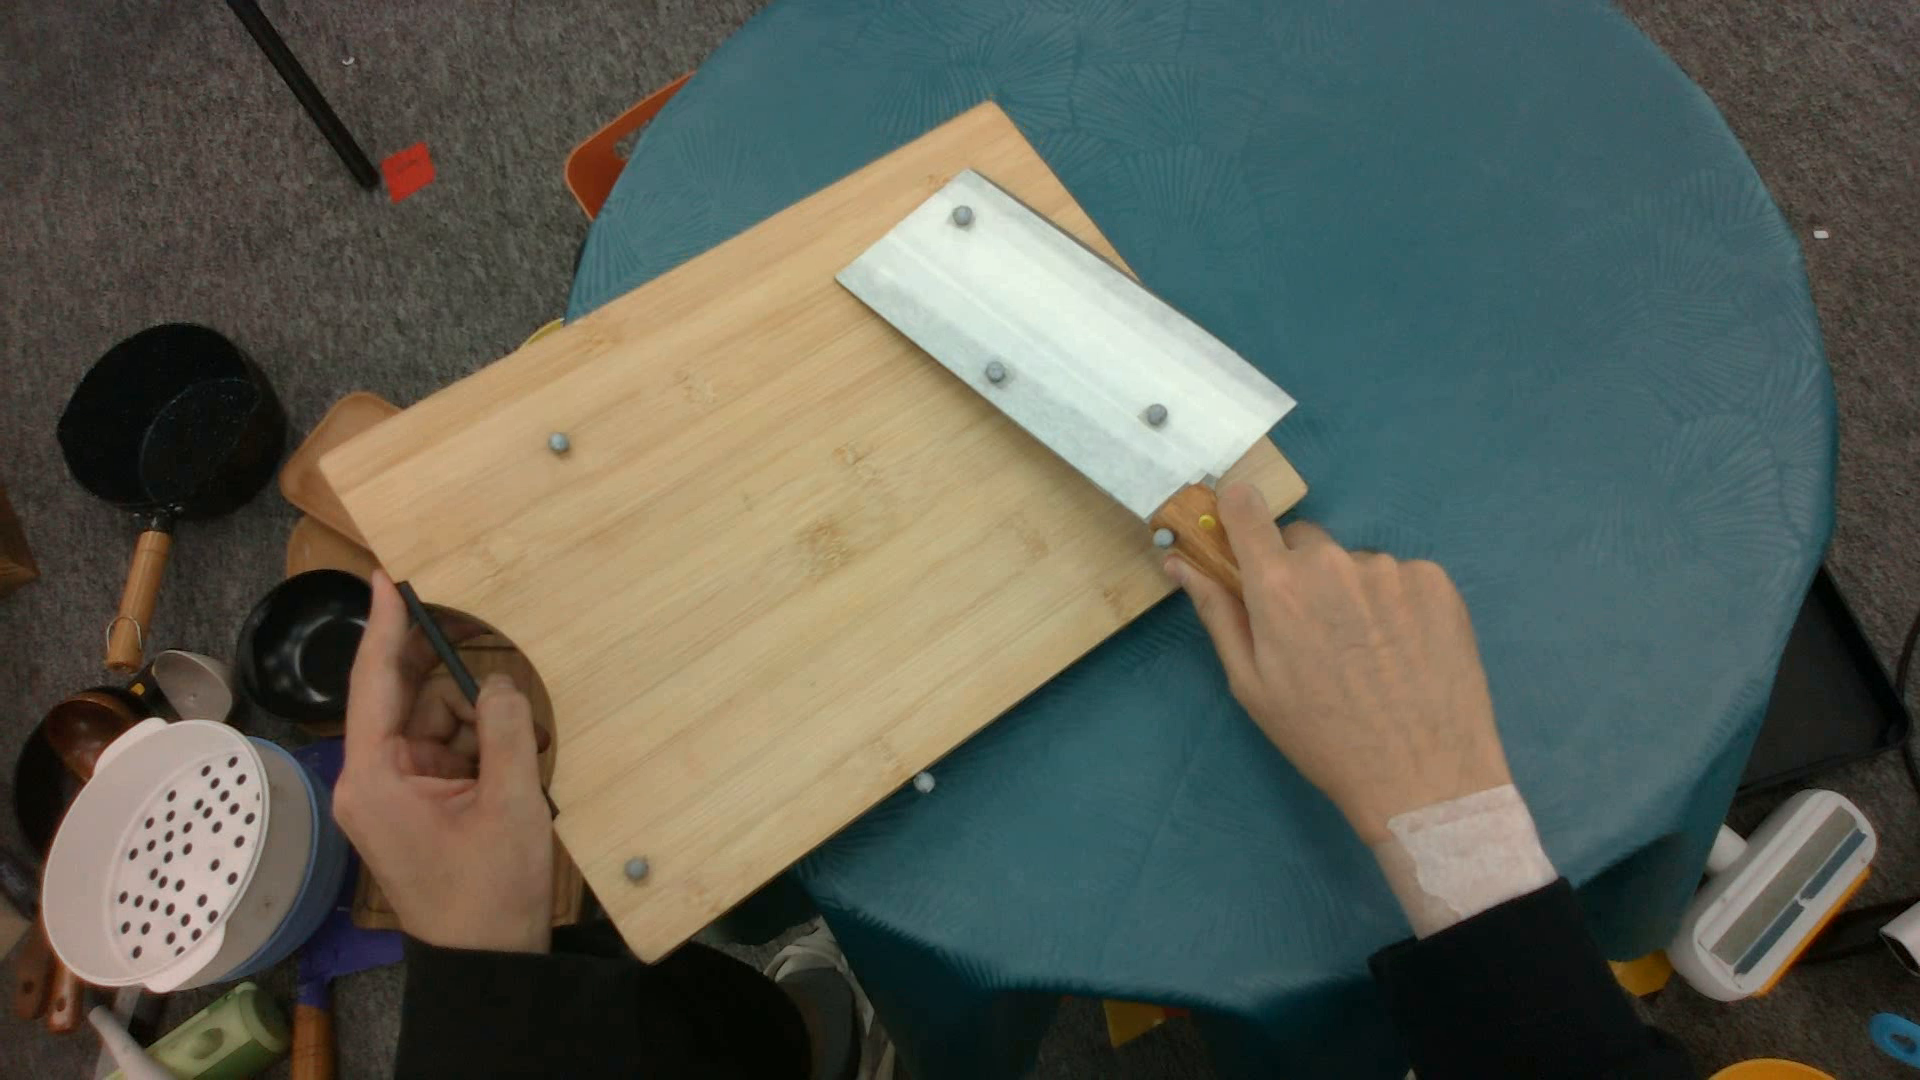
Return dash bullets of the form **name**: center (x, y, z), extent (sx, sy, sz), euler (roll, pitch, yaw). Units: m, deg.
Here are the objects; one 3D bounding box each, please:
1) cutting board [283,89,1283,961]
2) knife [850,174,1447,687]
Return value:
- **cutting board**: center (-0.062, -0.028, 0.586), extent (0.349, 0.023, 0.251), euler (-35, 77, -18)
- **knife**: center (0.086, -0.062, 0.579), extent (0.306, 0.021, 0.093), euler (40, 69, 20)
